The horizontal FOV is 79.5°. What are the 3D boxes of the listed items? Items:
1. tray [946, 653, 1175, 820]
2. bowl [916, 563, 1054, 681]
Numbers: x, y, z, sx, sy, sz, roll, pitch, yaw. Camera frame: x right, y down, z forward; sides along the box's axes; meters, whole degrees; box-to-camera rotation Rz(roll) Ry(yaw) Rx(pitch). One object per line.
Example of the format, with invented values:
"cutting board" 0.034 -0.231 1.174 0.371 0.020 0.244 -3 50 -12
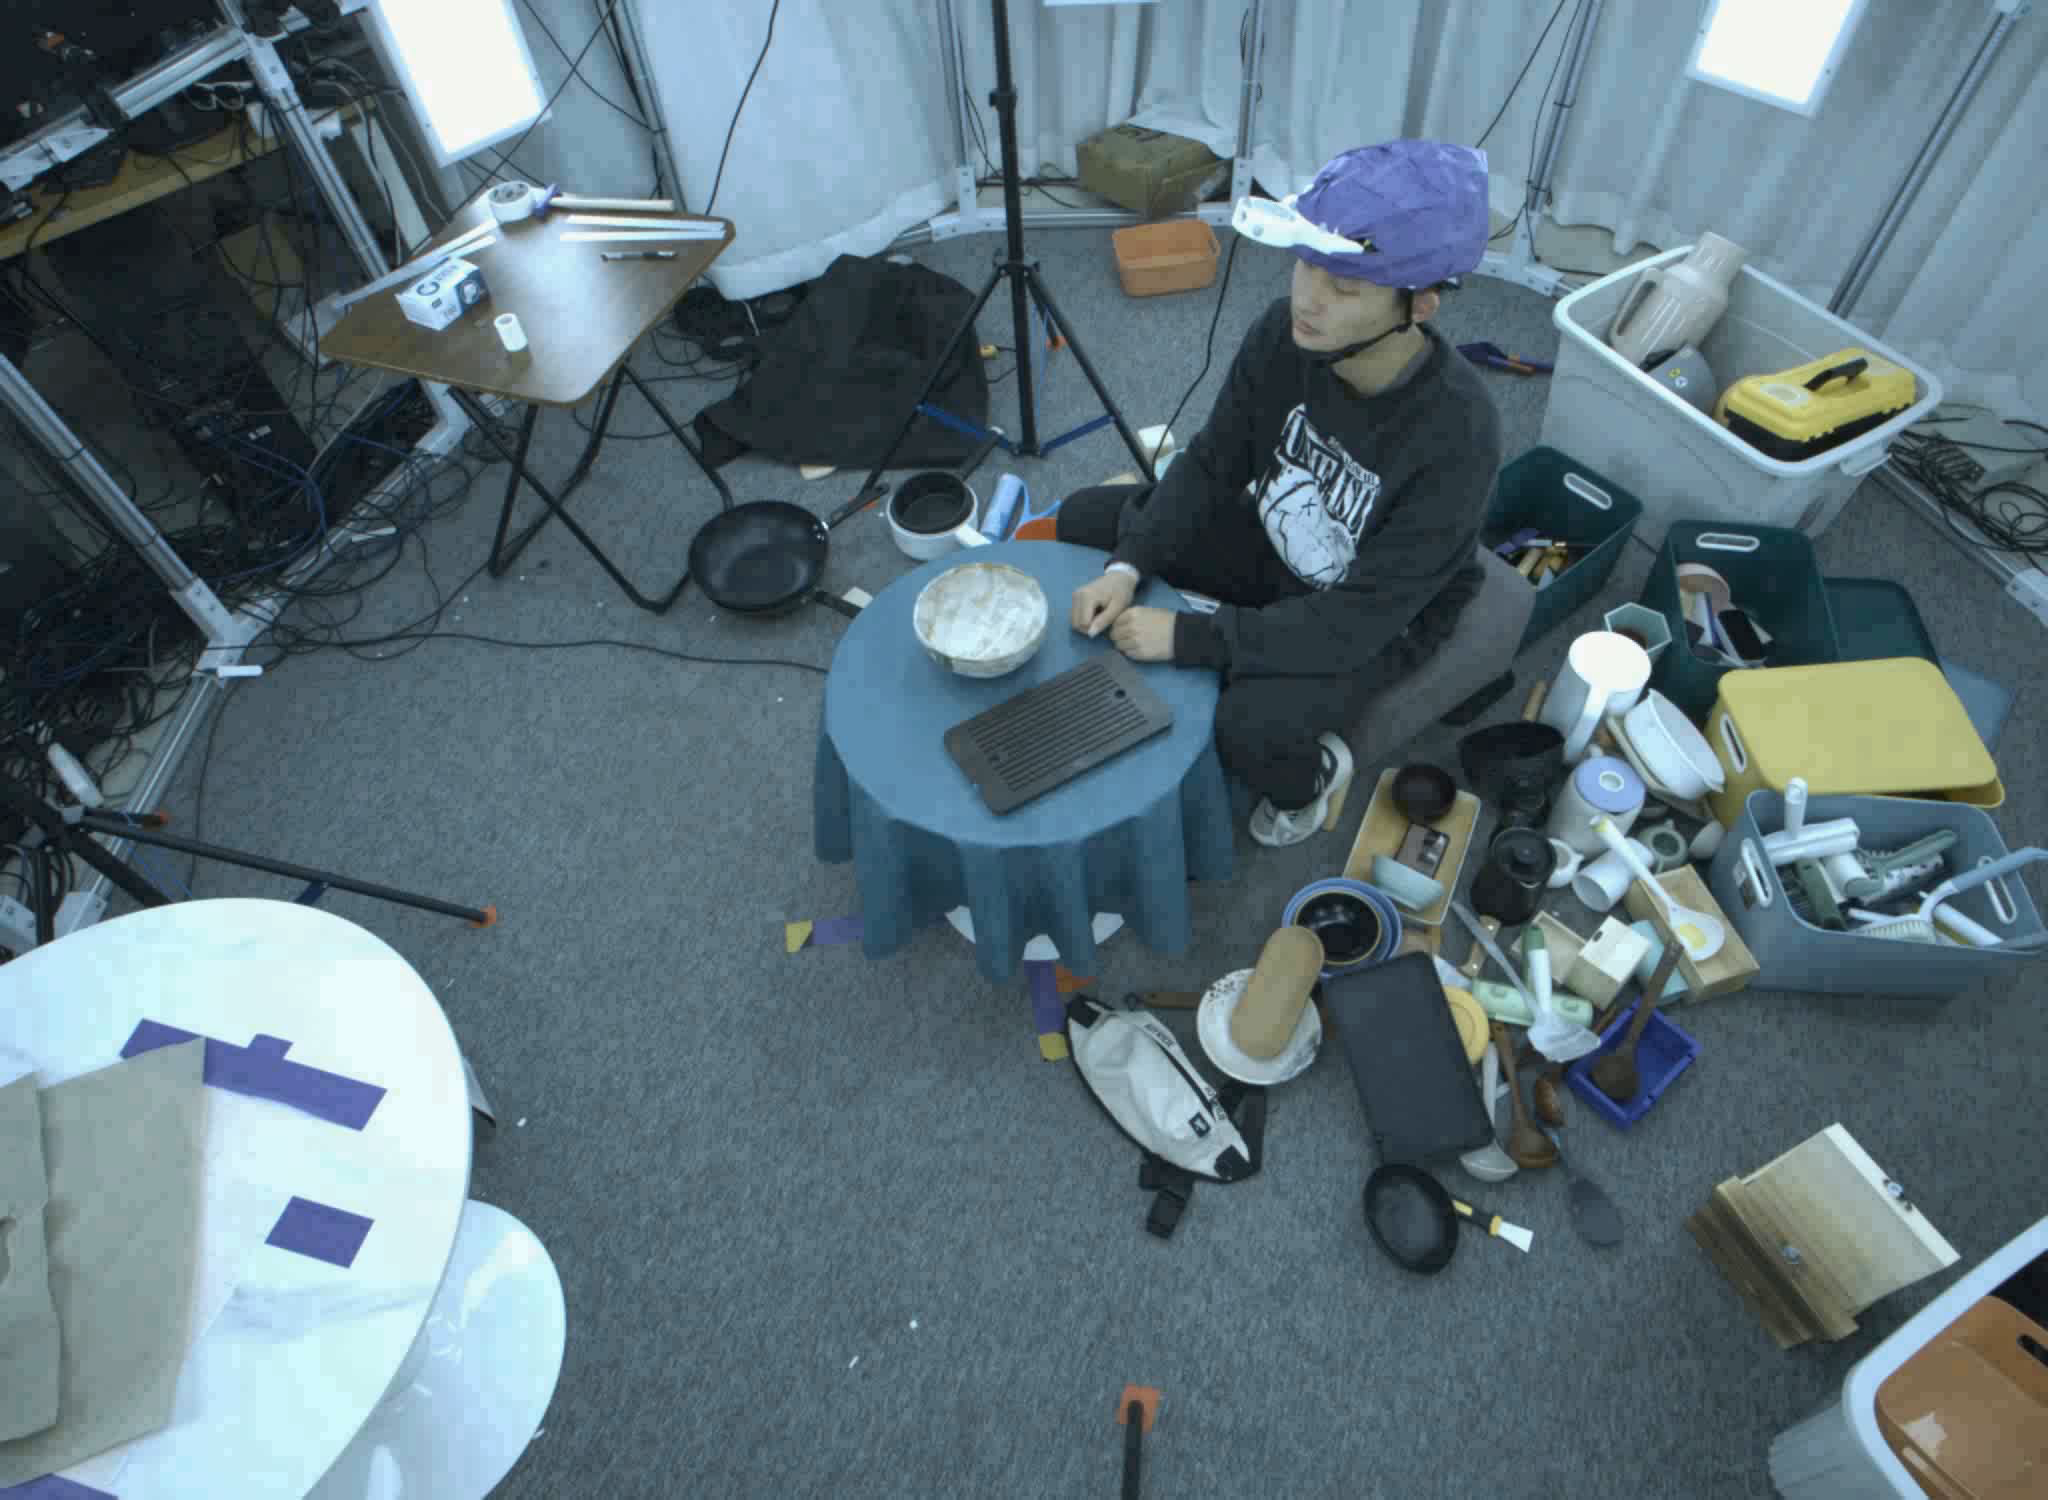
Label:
"tray" 0.054 -0.022 1.801 0.308 0.019 0.167 -27 59 -17
"bowl" -0.055 -0.176 1.865 0.214 0.095 0.212 -1 54 2
